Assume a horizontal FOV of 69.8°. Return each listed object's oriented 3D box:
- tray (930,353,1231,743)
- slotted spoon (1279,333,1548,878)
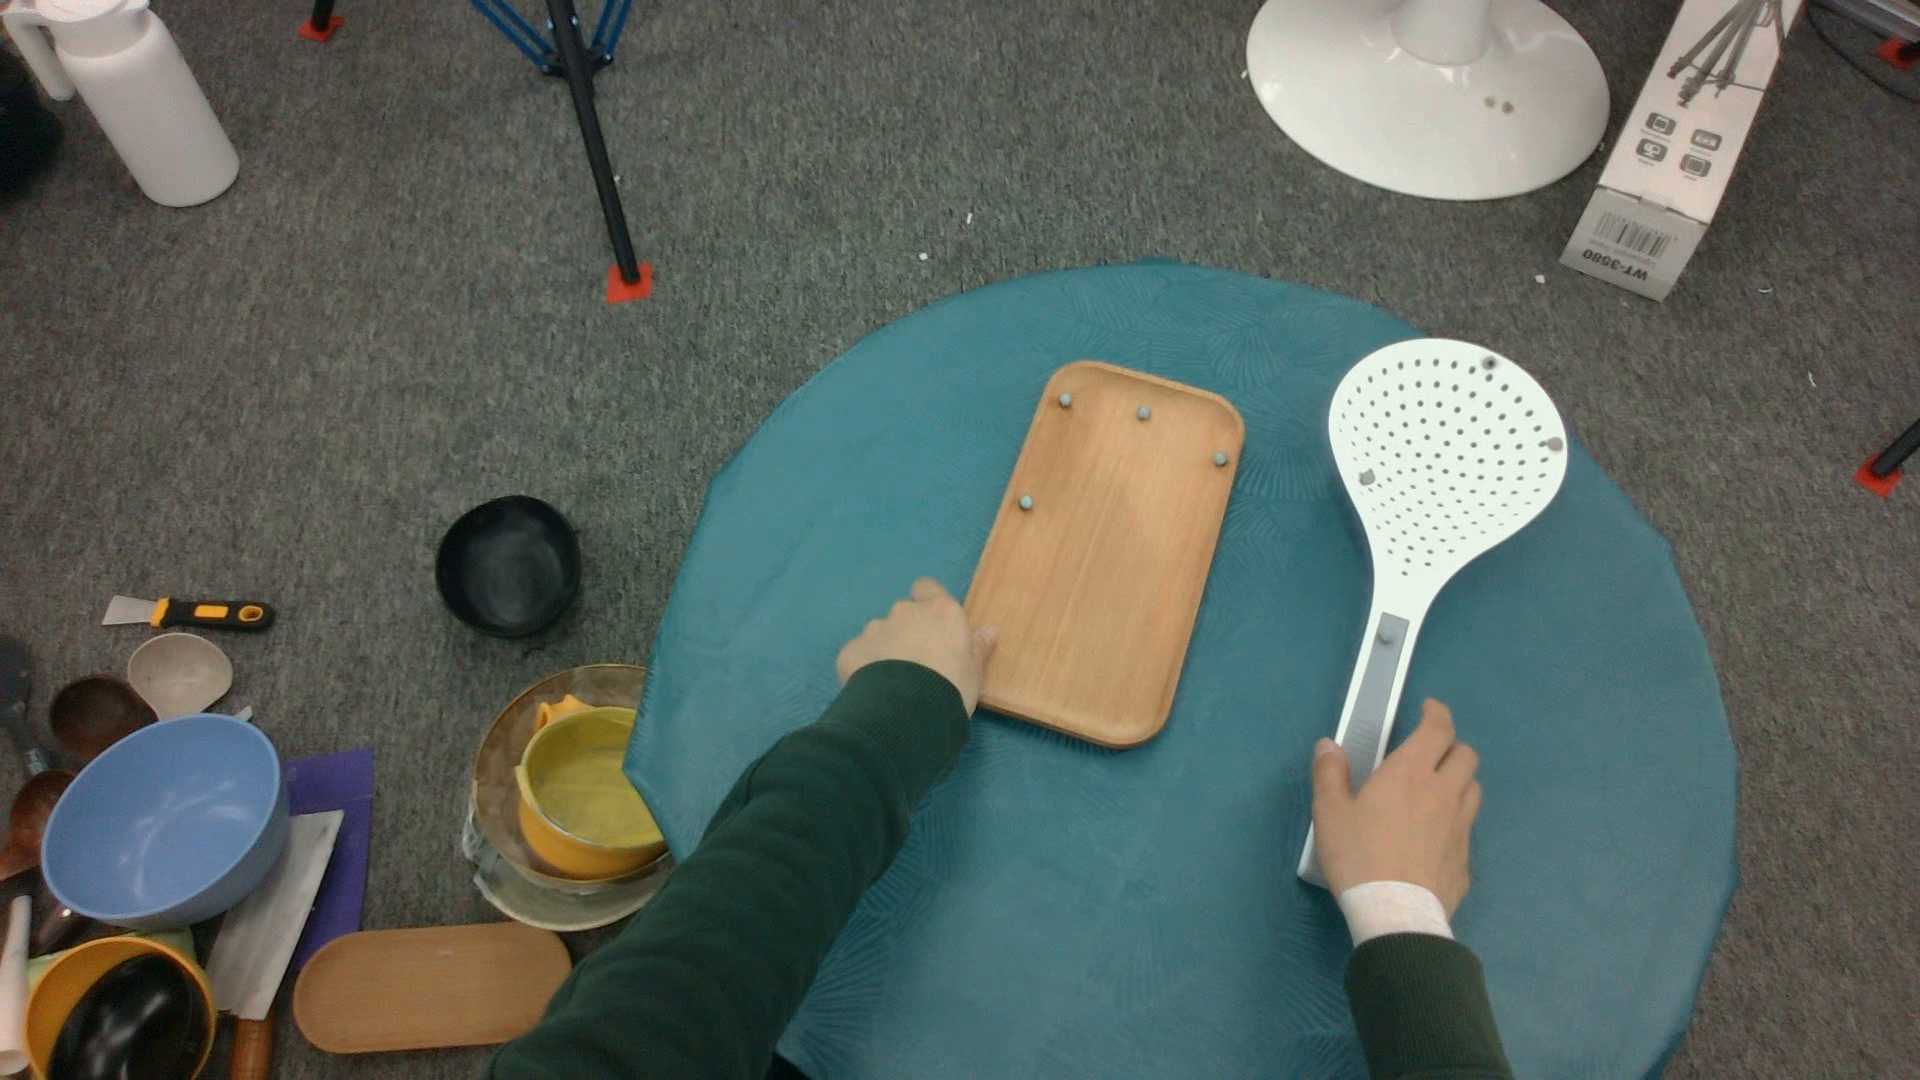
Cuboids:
[{"bbox_3d":[0.075,-0.003,0.806,0.130,0.023,0.252,16,59,9],"label":"tray"},{"bbox_3d":[0.241,0.025,0.780,0.136,0.045,0.351,19,60,11],"label":"slotted spoon"}]
